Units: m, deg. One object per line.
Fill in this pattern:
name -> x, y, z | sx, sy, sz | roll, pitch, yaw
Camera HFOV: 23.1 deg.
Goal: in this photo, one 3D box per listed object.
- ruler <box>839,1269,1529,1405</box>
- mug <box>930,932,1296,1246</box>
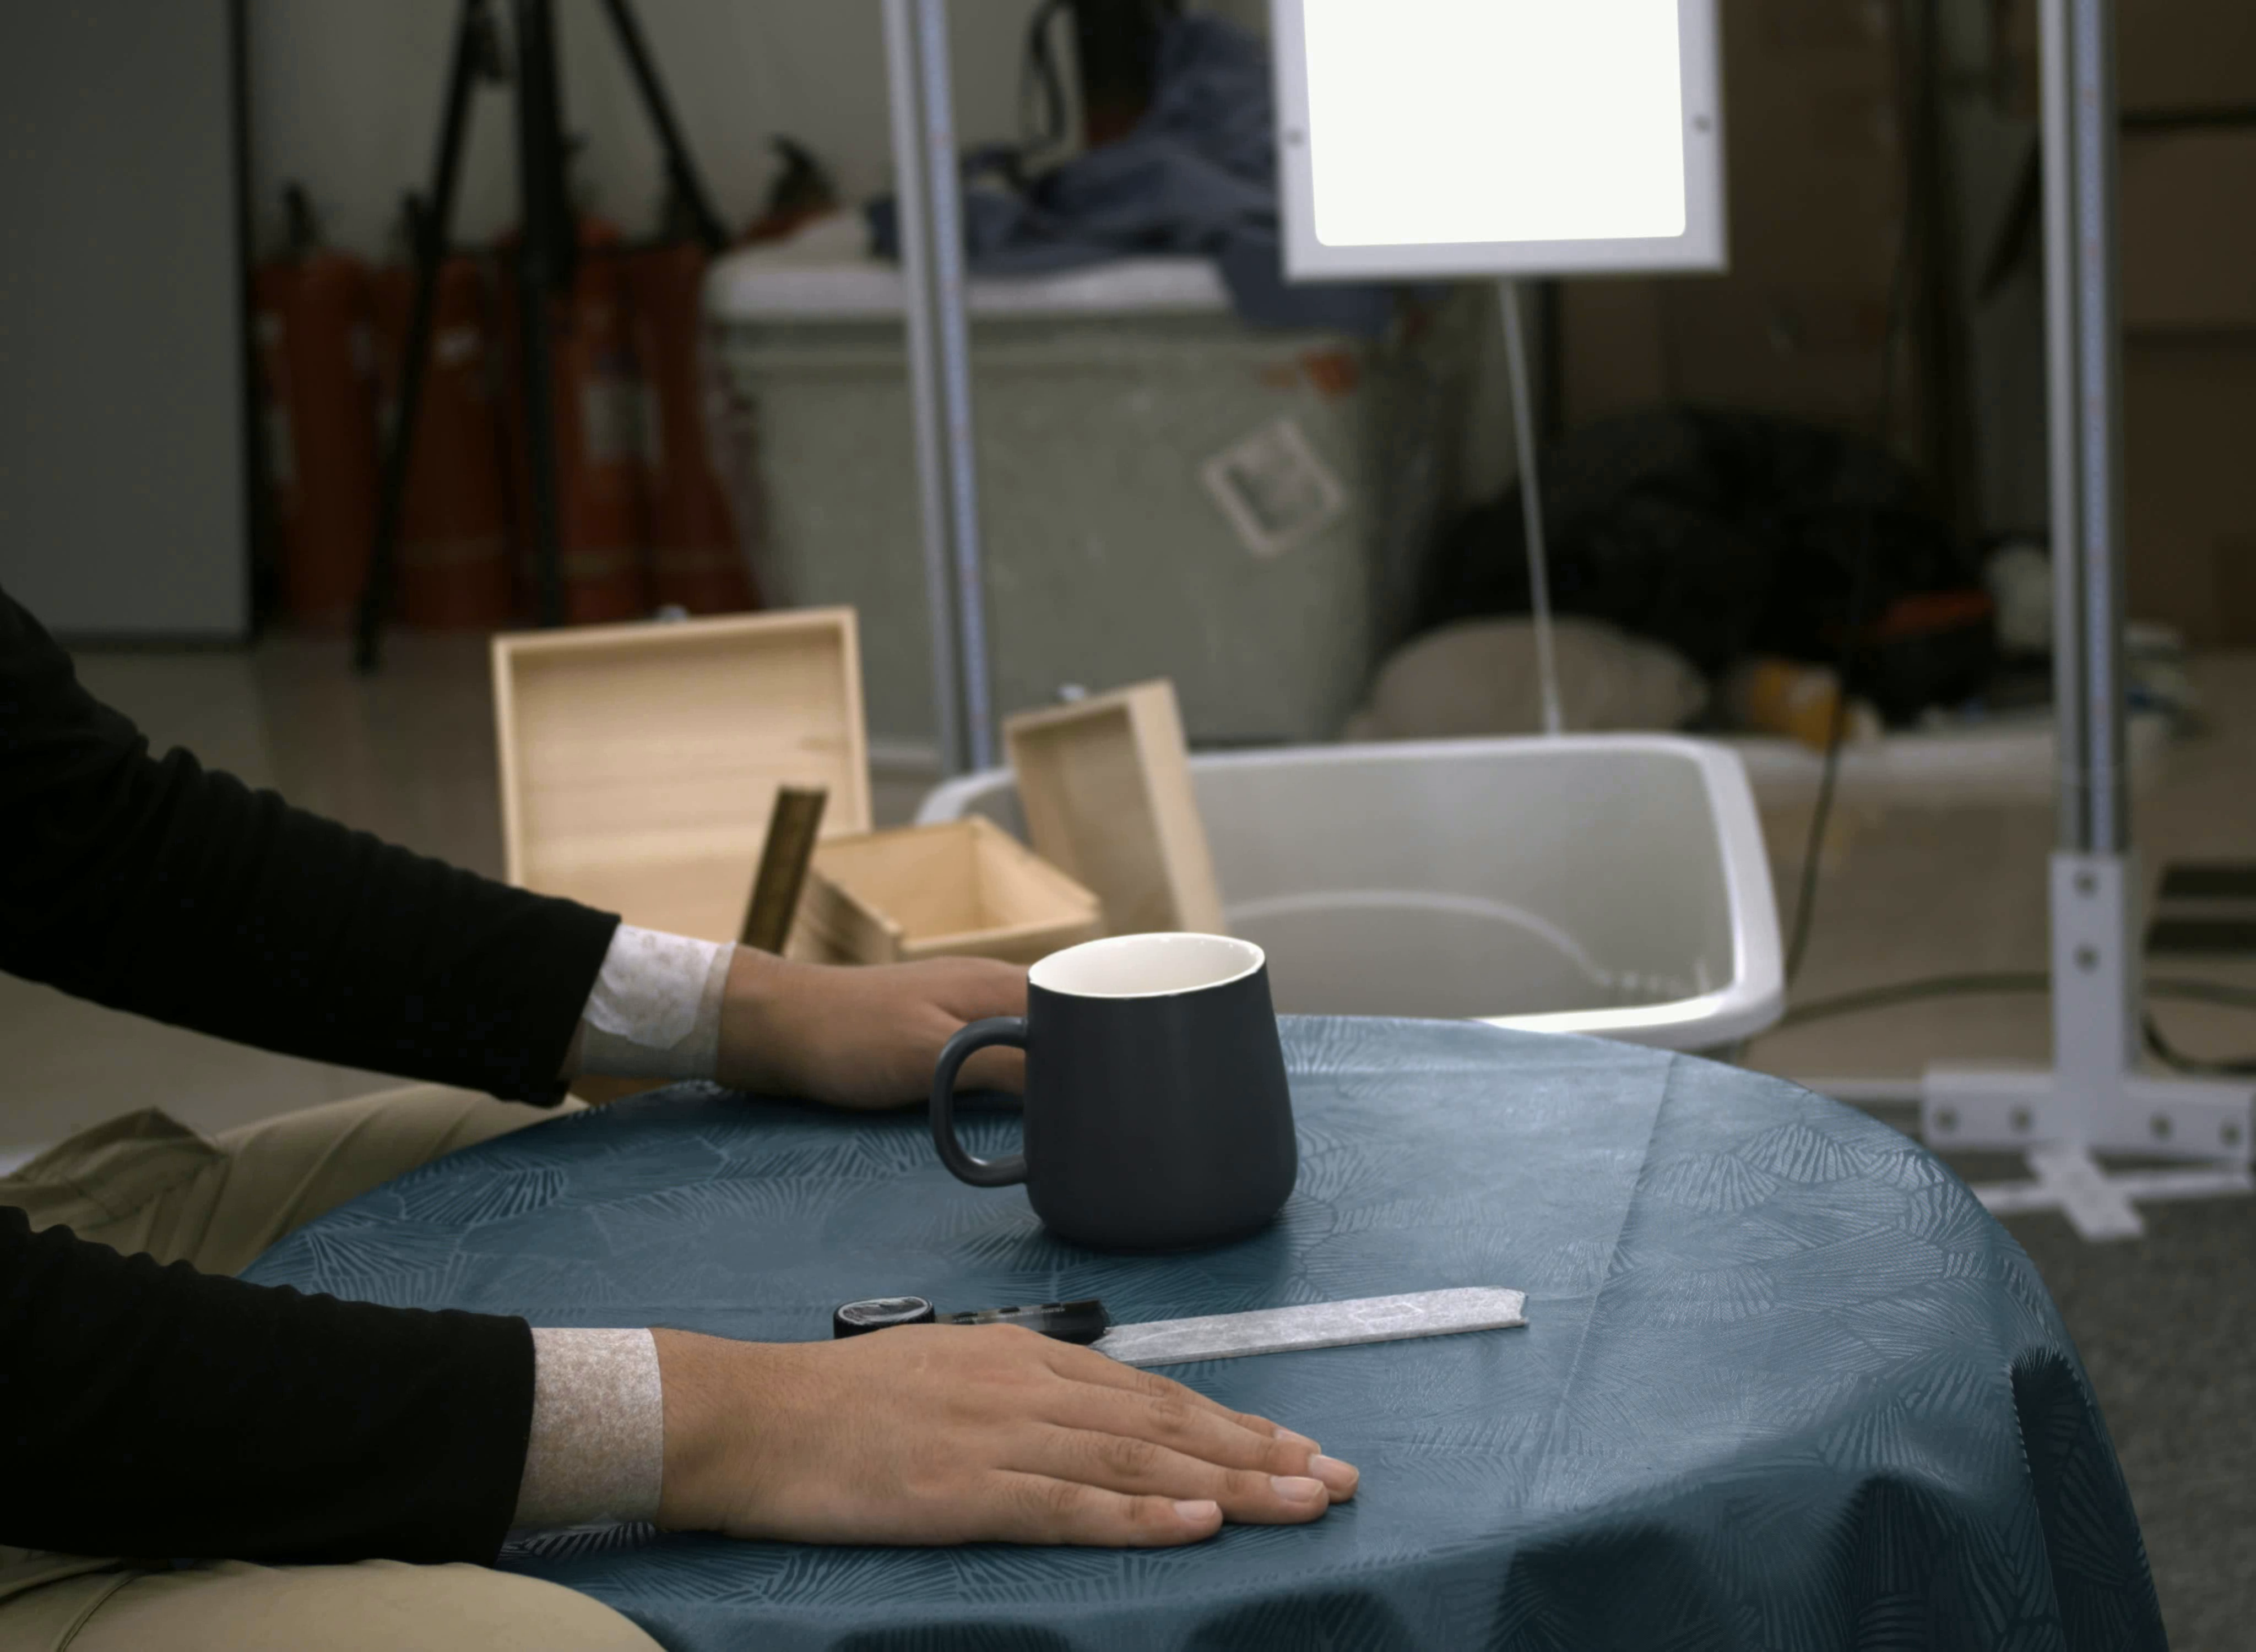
ruler -> 0.017, 0.153, 1.735 | 0.217, 0.024, 0.038 | -7, 20, -2
mug -> -0.006, 0.089, 1.856 | 0.123, 0.090, 0.093 | -4, 13, 0
